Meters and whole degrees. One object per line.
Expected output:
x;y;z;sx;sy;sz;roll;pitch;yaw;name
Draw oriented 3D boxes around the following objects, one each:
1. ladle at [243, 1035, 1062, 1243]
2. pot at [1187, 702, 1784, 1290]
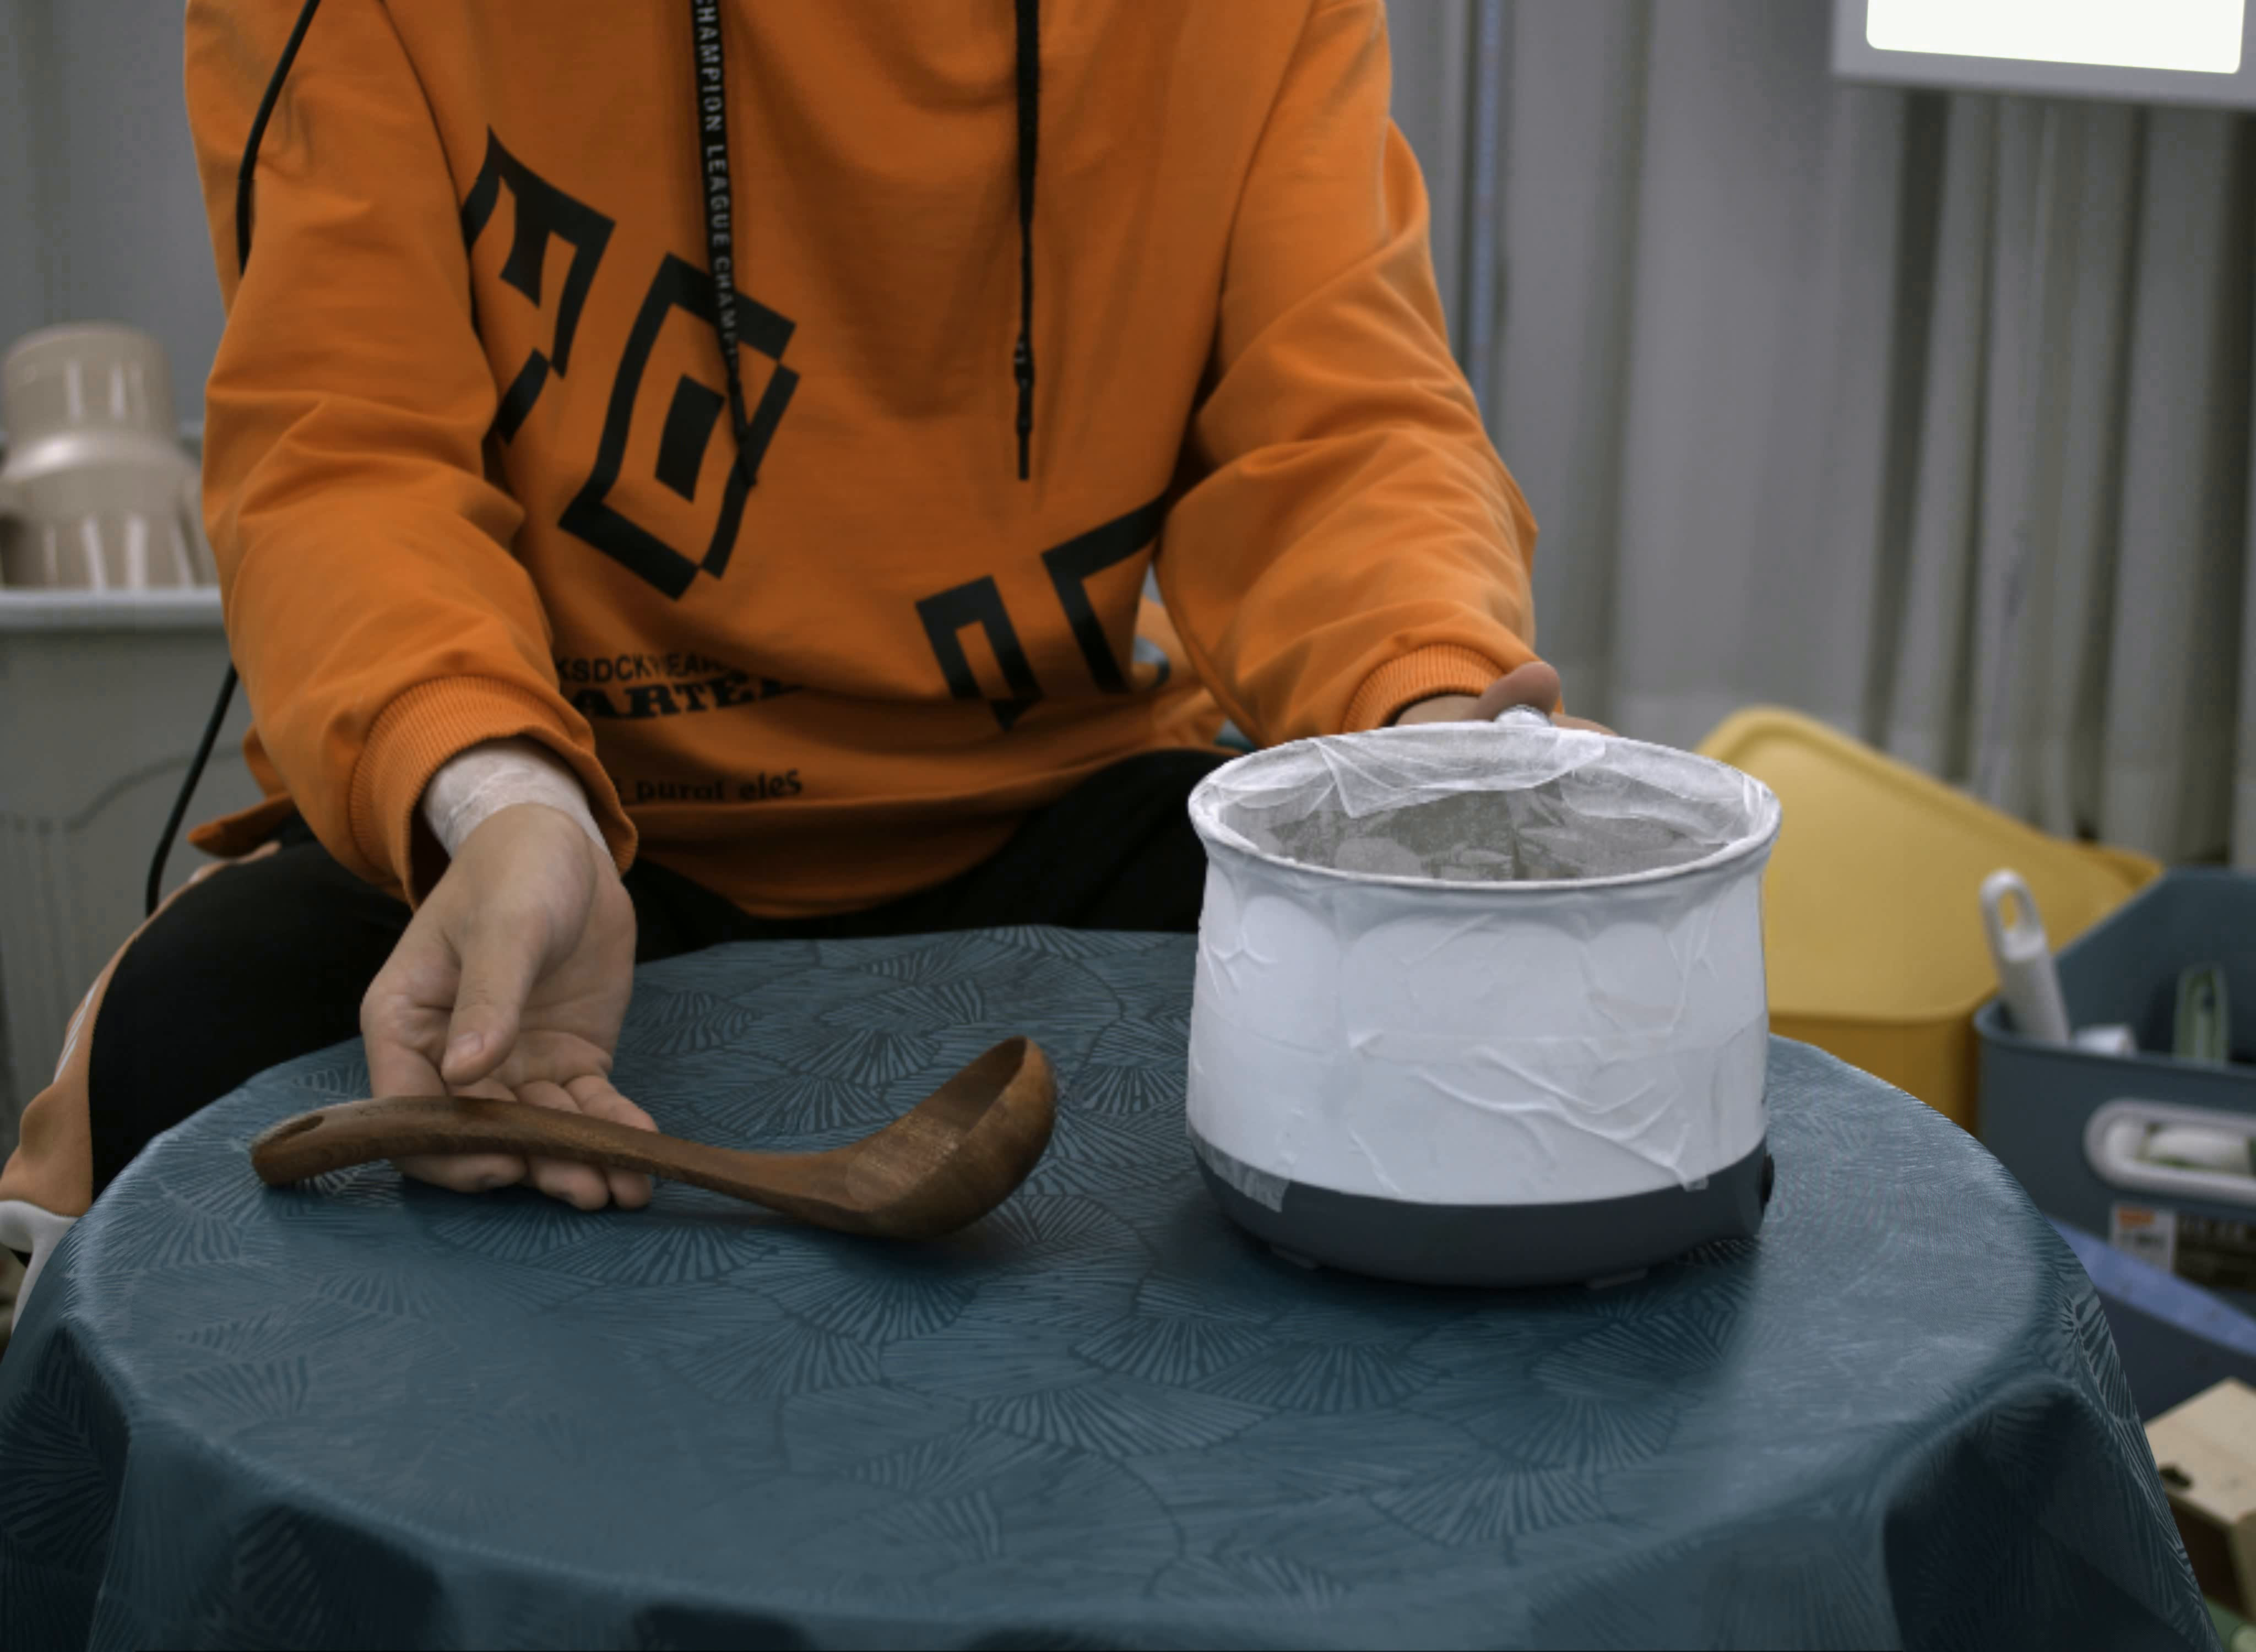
-0.146;0.087;1.588;0.258;0.066;0.076;5;23;12;ladle
0.110;0.046;1.607;0.177;0.138;0.233;3;16;8;pot
